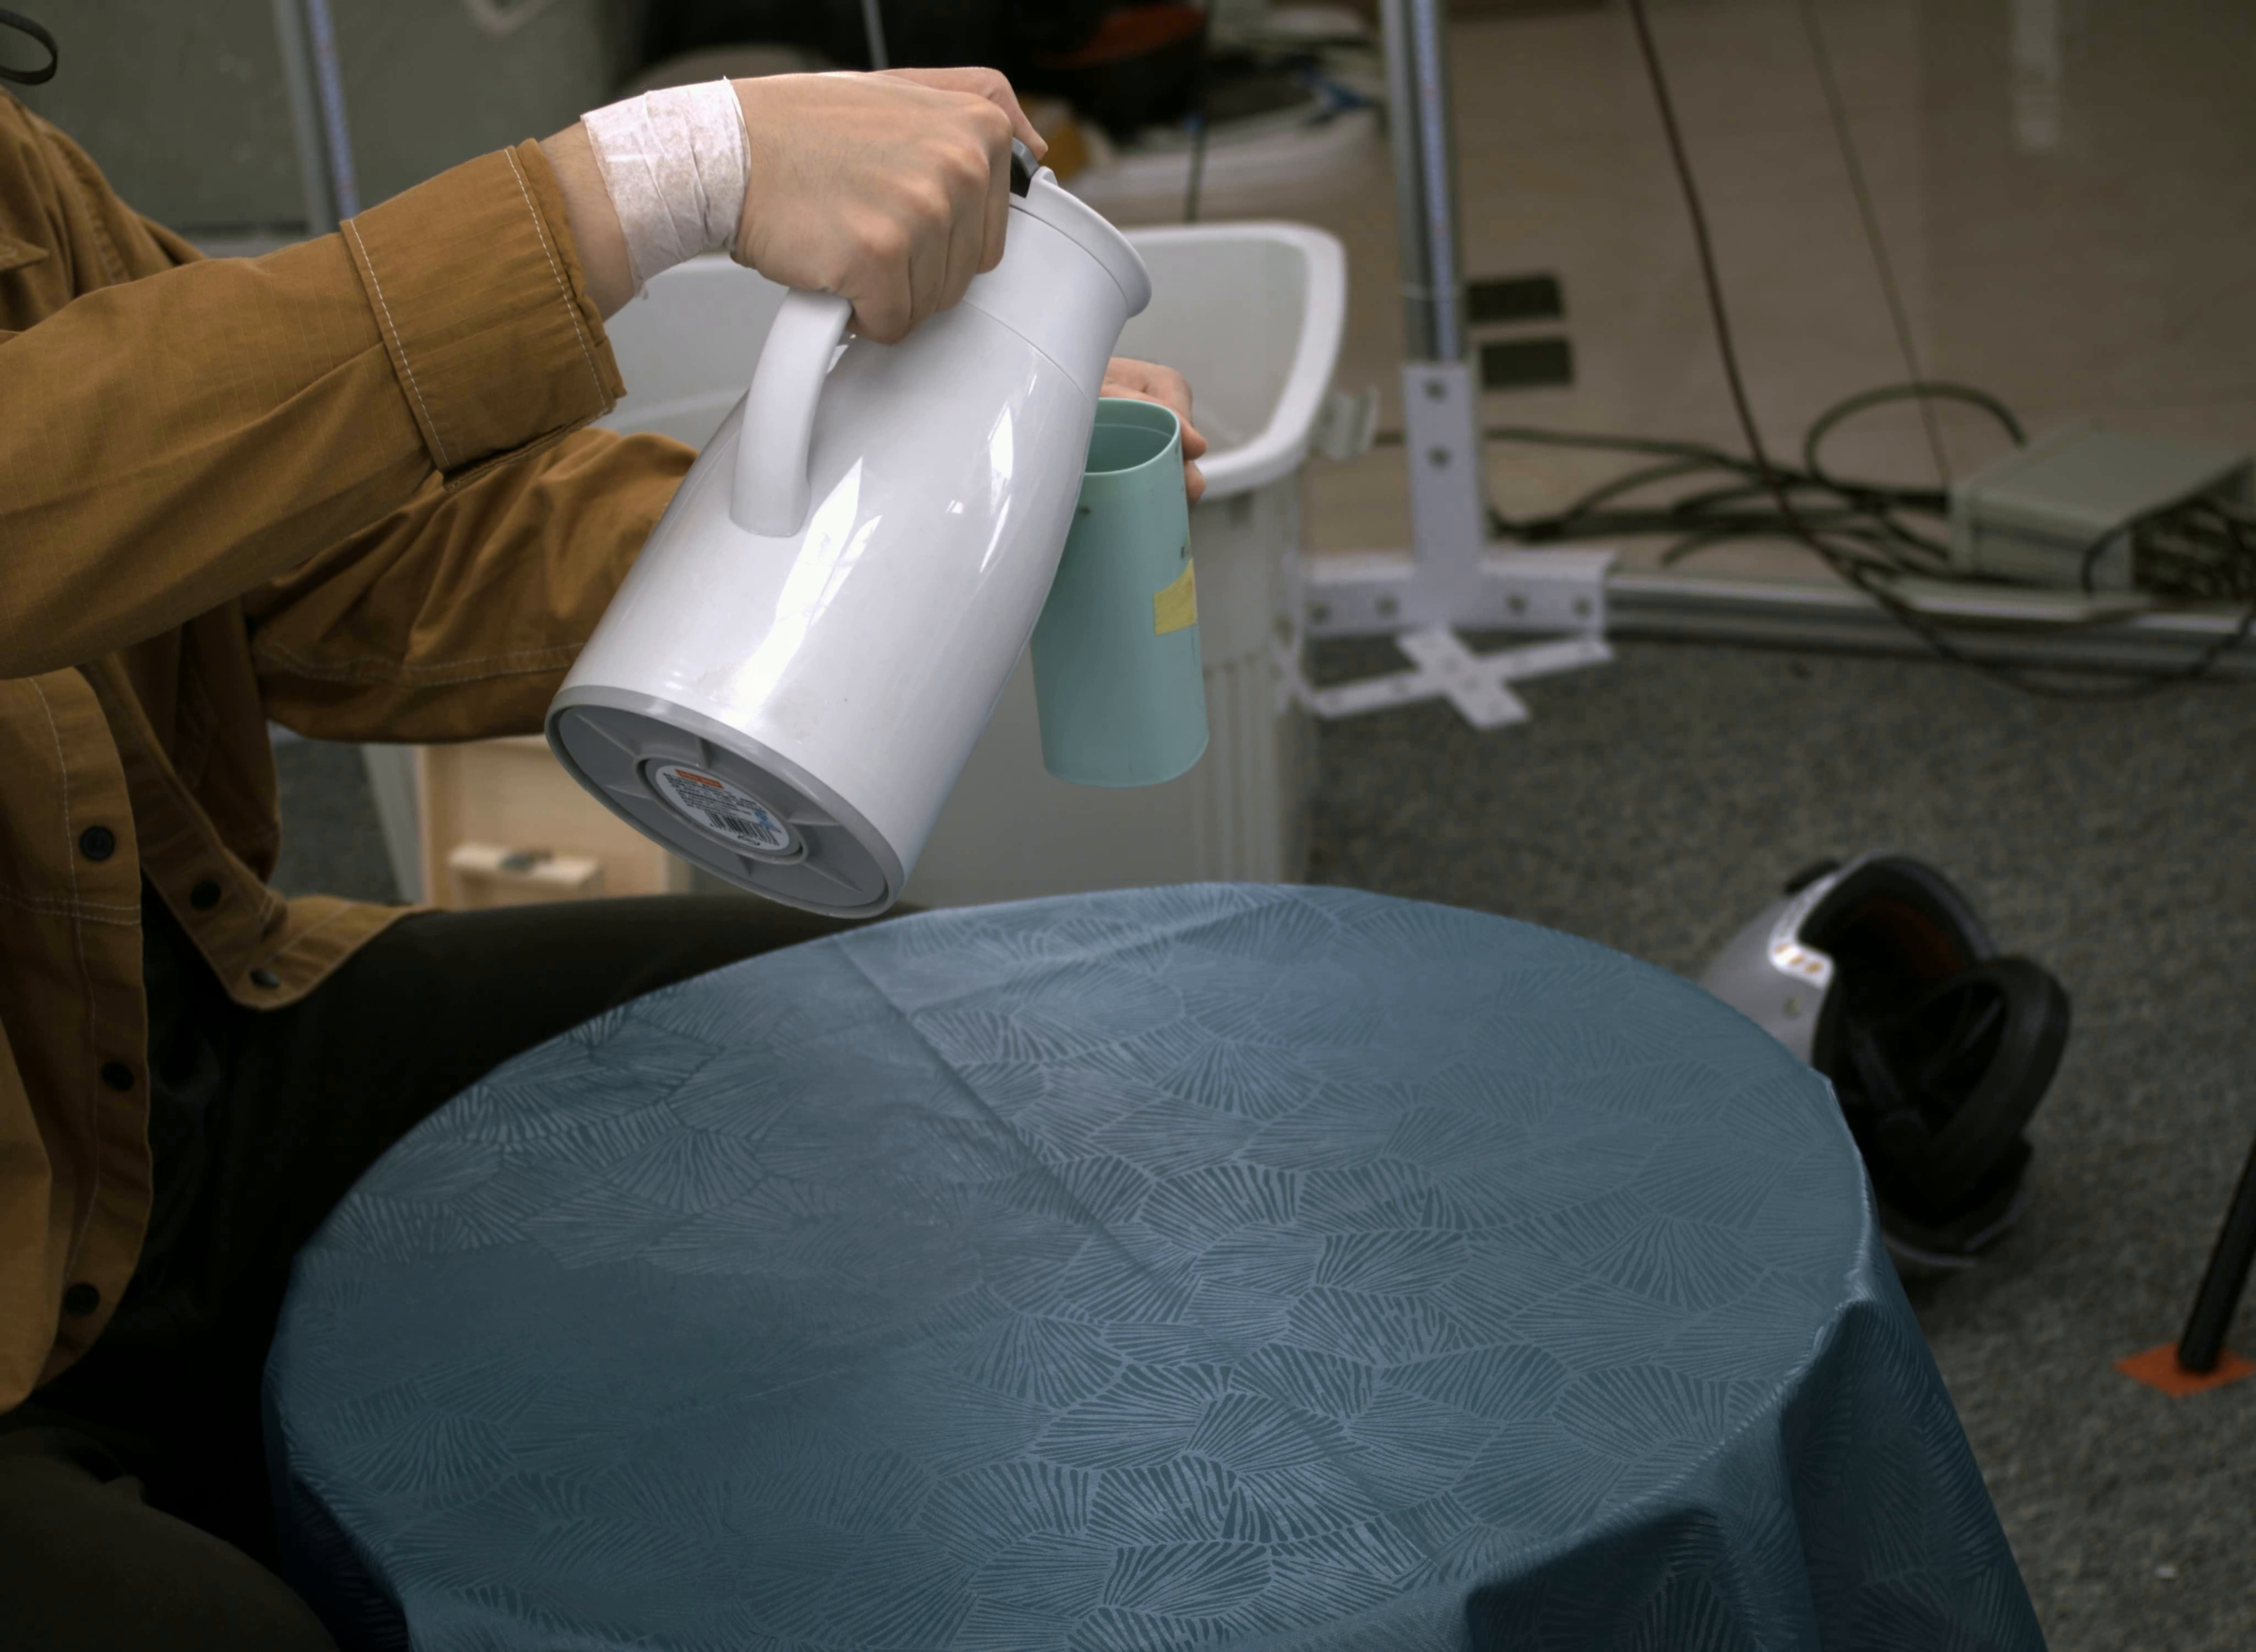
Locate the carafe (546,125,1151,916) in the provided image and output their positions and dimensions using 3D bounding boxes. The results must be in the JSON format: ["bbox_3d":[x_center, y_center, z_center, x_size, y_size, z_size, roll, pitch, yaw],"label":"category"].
[{"bbox_3d":[-0.087,-0.116,1.909,0.131,0.170,0.246,19,70,25],"label":"carafe"}]

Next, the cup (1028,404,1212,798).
[{"bbox_3d":[-0.006,-0.083,2.079,0.066,0.135,0.065,-4,31,2],"label":"cup"}]
